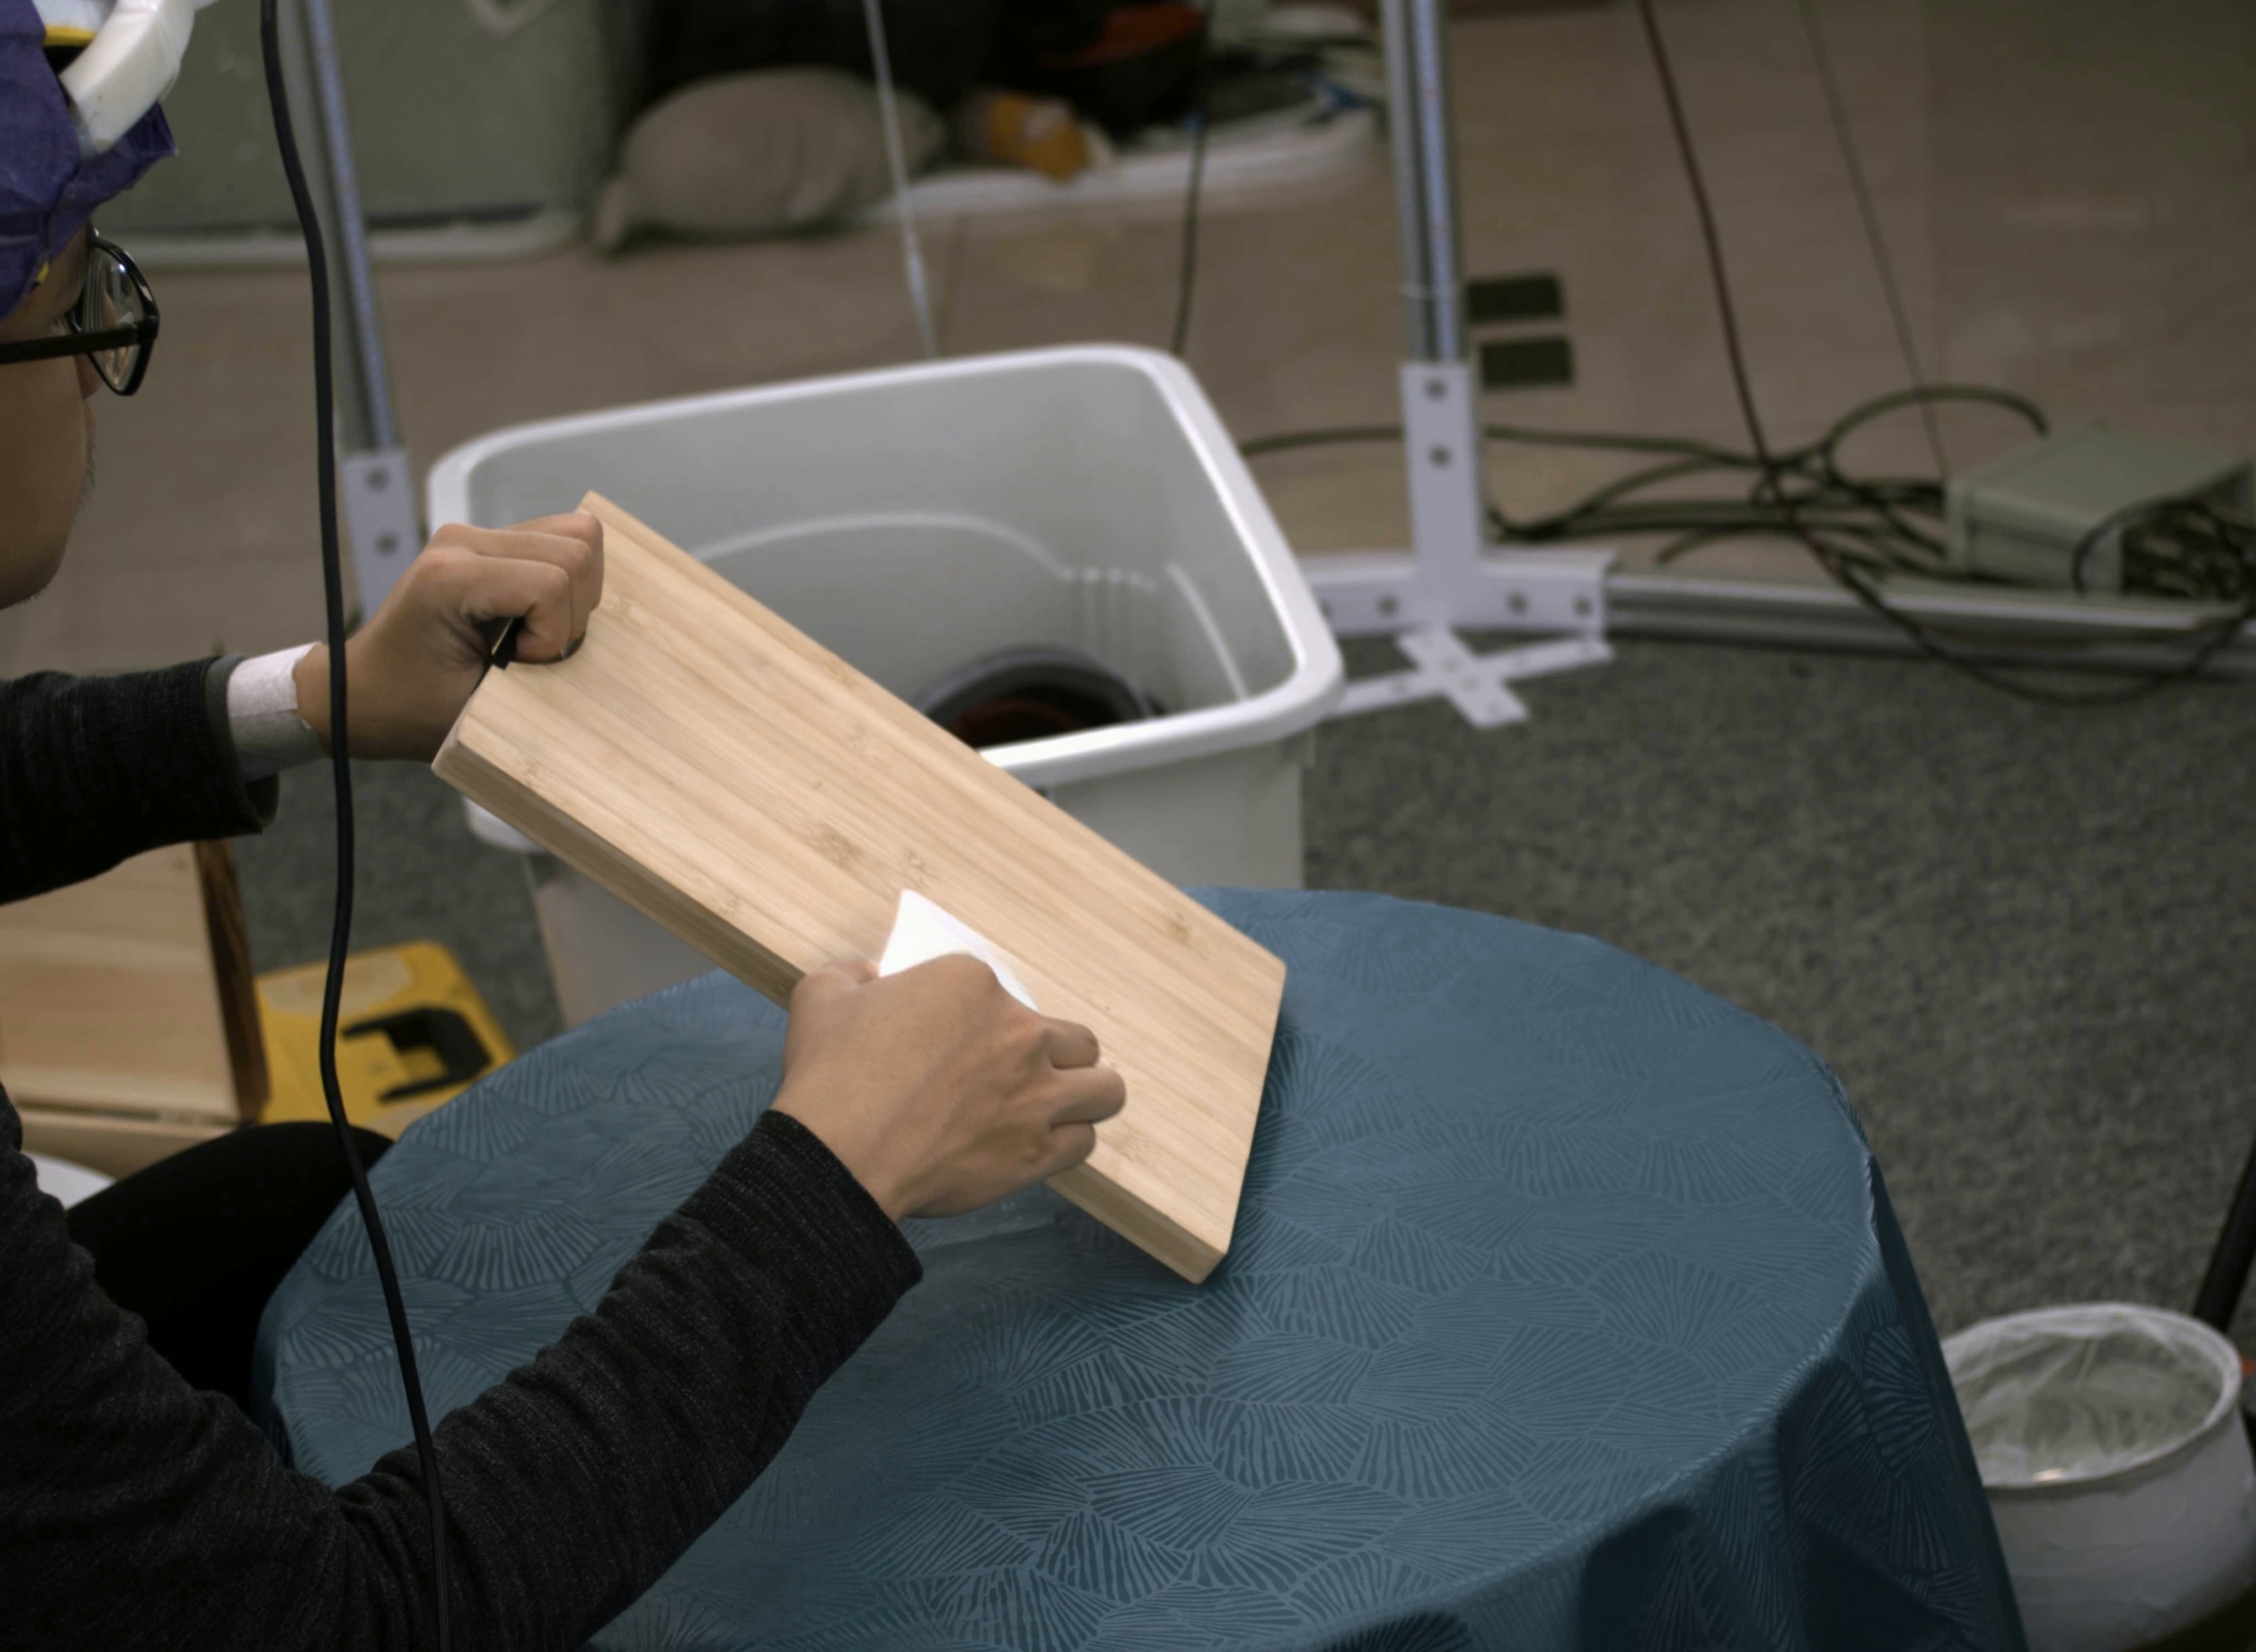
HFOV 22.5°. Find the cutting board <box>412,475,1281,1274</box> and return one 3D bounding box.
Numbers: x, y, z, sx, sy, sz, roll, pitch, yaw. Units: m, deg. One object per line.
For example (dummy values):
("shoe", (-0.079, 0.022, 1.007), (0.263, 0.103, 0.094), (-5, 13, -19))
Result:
("cutting board", (-0.098, 0.015, 2.148), (0.350, 0.024, 0.247), (34, 25, -11))

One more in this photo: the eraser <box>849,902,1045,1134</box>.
("eraser", (-0.065, 0.065, 2.031), (0.063, 0.035, 0.130), (35, 16, -6))
